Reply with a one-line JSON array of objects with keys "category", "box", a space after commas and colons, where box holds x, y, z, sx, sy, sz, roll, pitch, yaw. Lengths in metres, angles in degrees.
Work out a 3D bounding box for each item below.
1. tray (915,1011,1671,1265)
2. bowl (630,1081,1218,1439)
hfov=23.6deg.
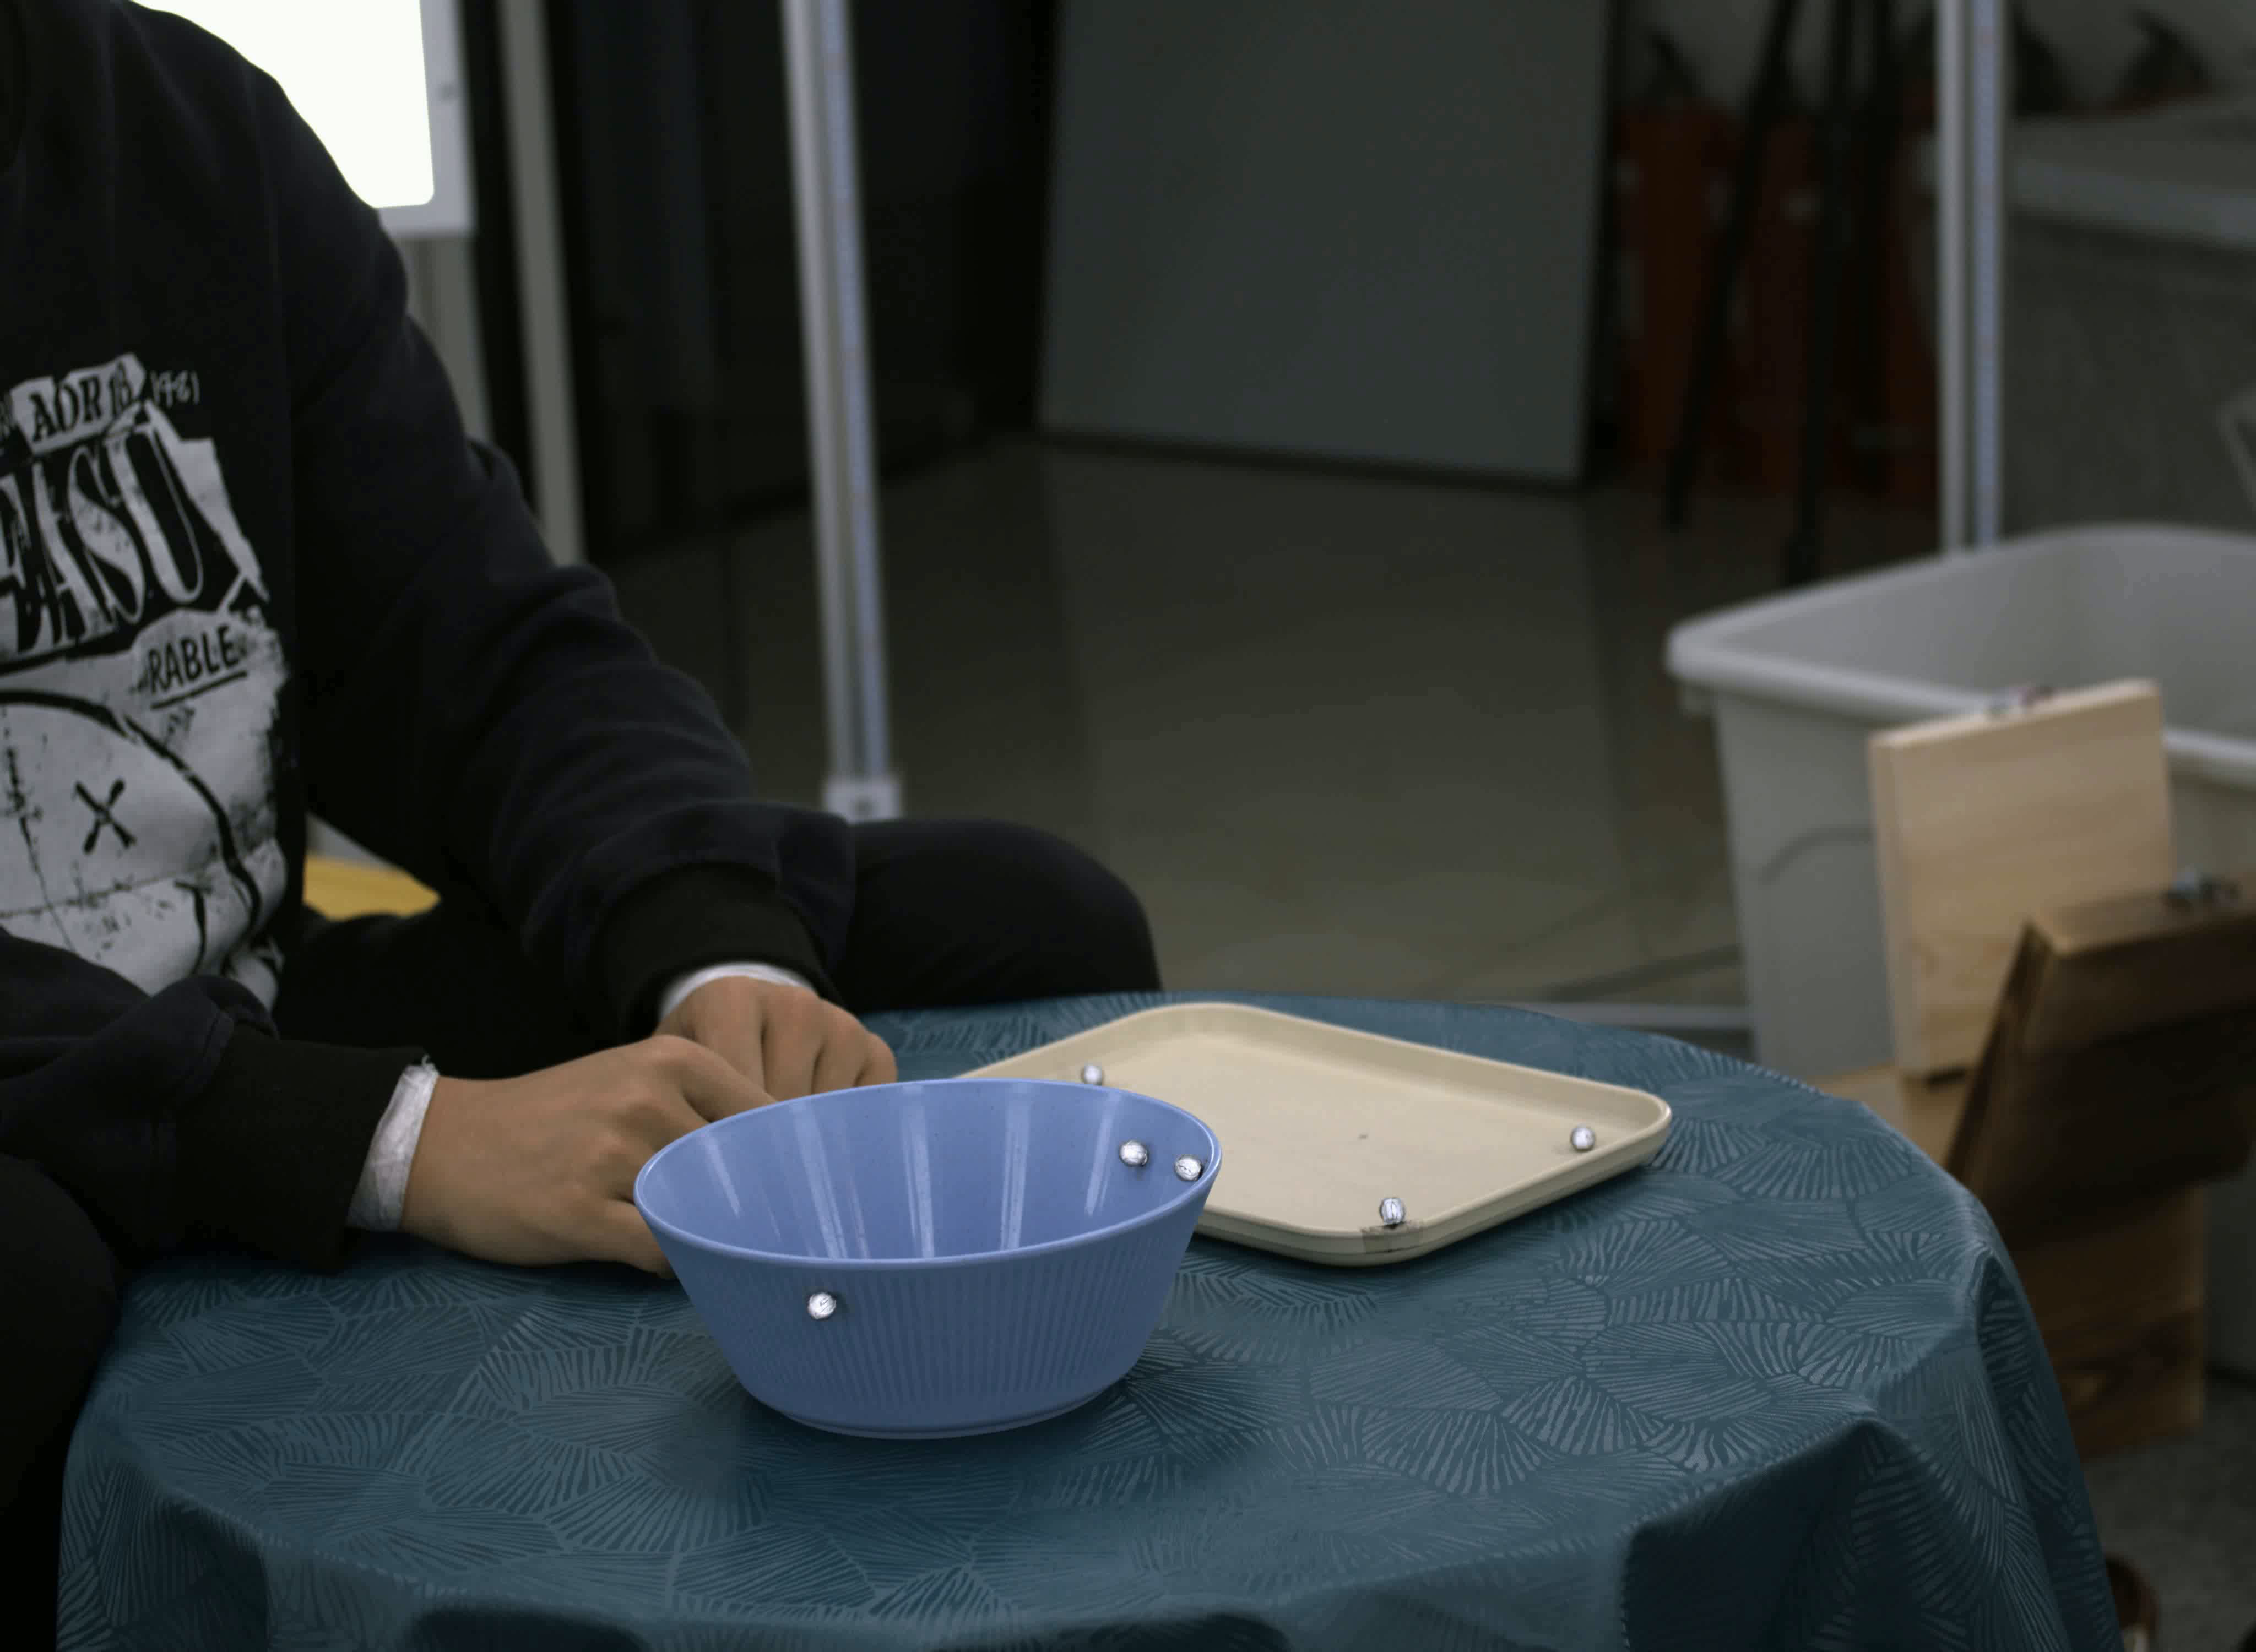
[{"category": "tray", "box": [0.050, 0.103, 1.794, 0.168, 0.017, 0.242, -16, 18, -42]}, {"category": "bowl", "box": [-0.058, 0.131, 1.601, 0.174, 0.071, 0.176, -3, 14, 0]}]
